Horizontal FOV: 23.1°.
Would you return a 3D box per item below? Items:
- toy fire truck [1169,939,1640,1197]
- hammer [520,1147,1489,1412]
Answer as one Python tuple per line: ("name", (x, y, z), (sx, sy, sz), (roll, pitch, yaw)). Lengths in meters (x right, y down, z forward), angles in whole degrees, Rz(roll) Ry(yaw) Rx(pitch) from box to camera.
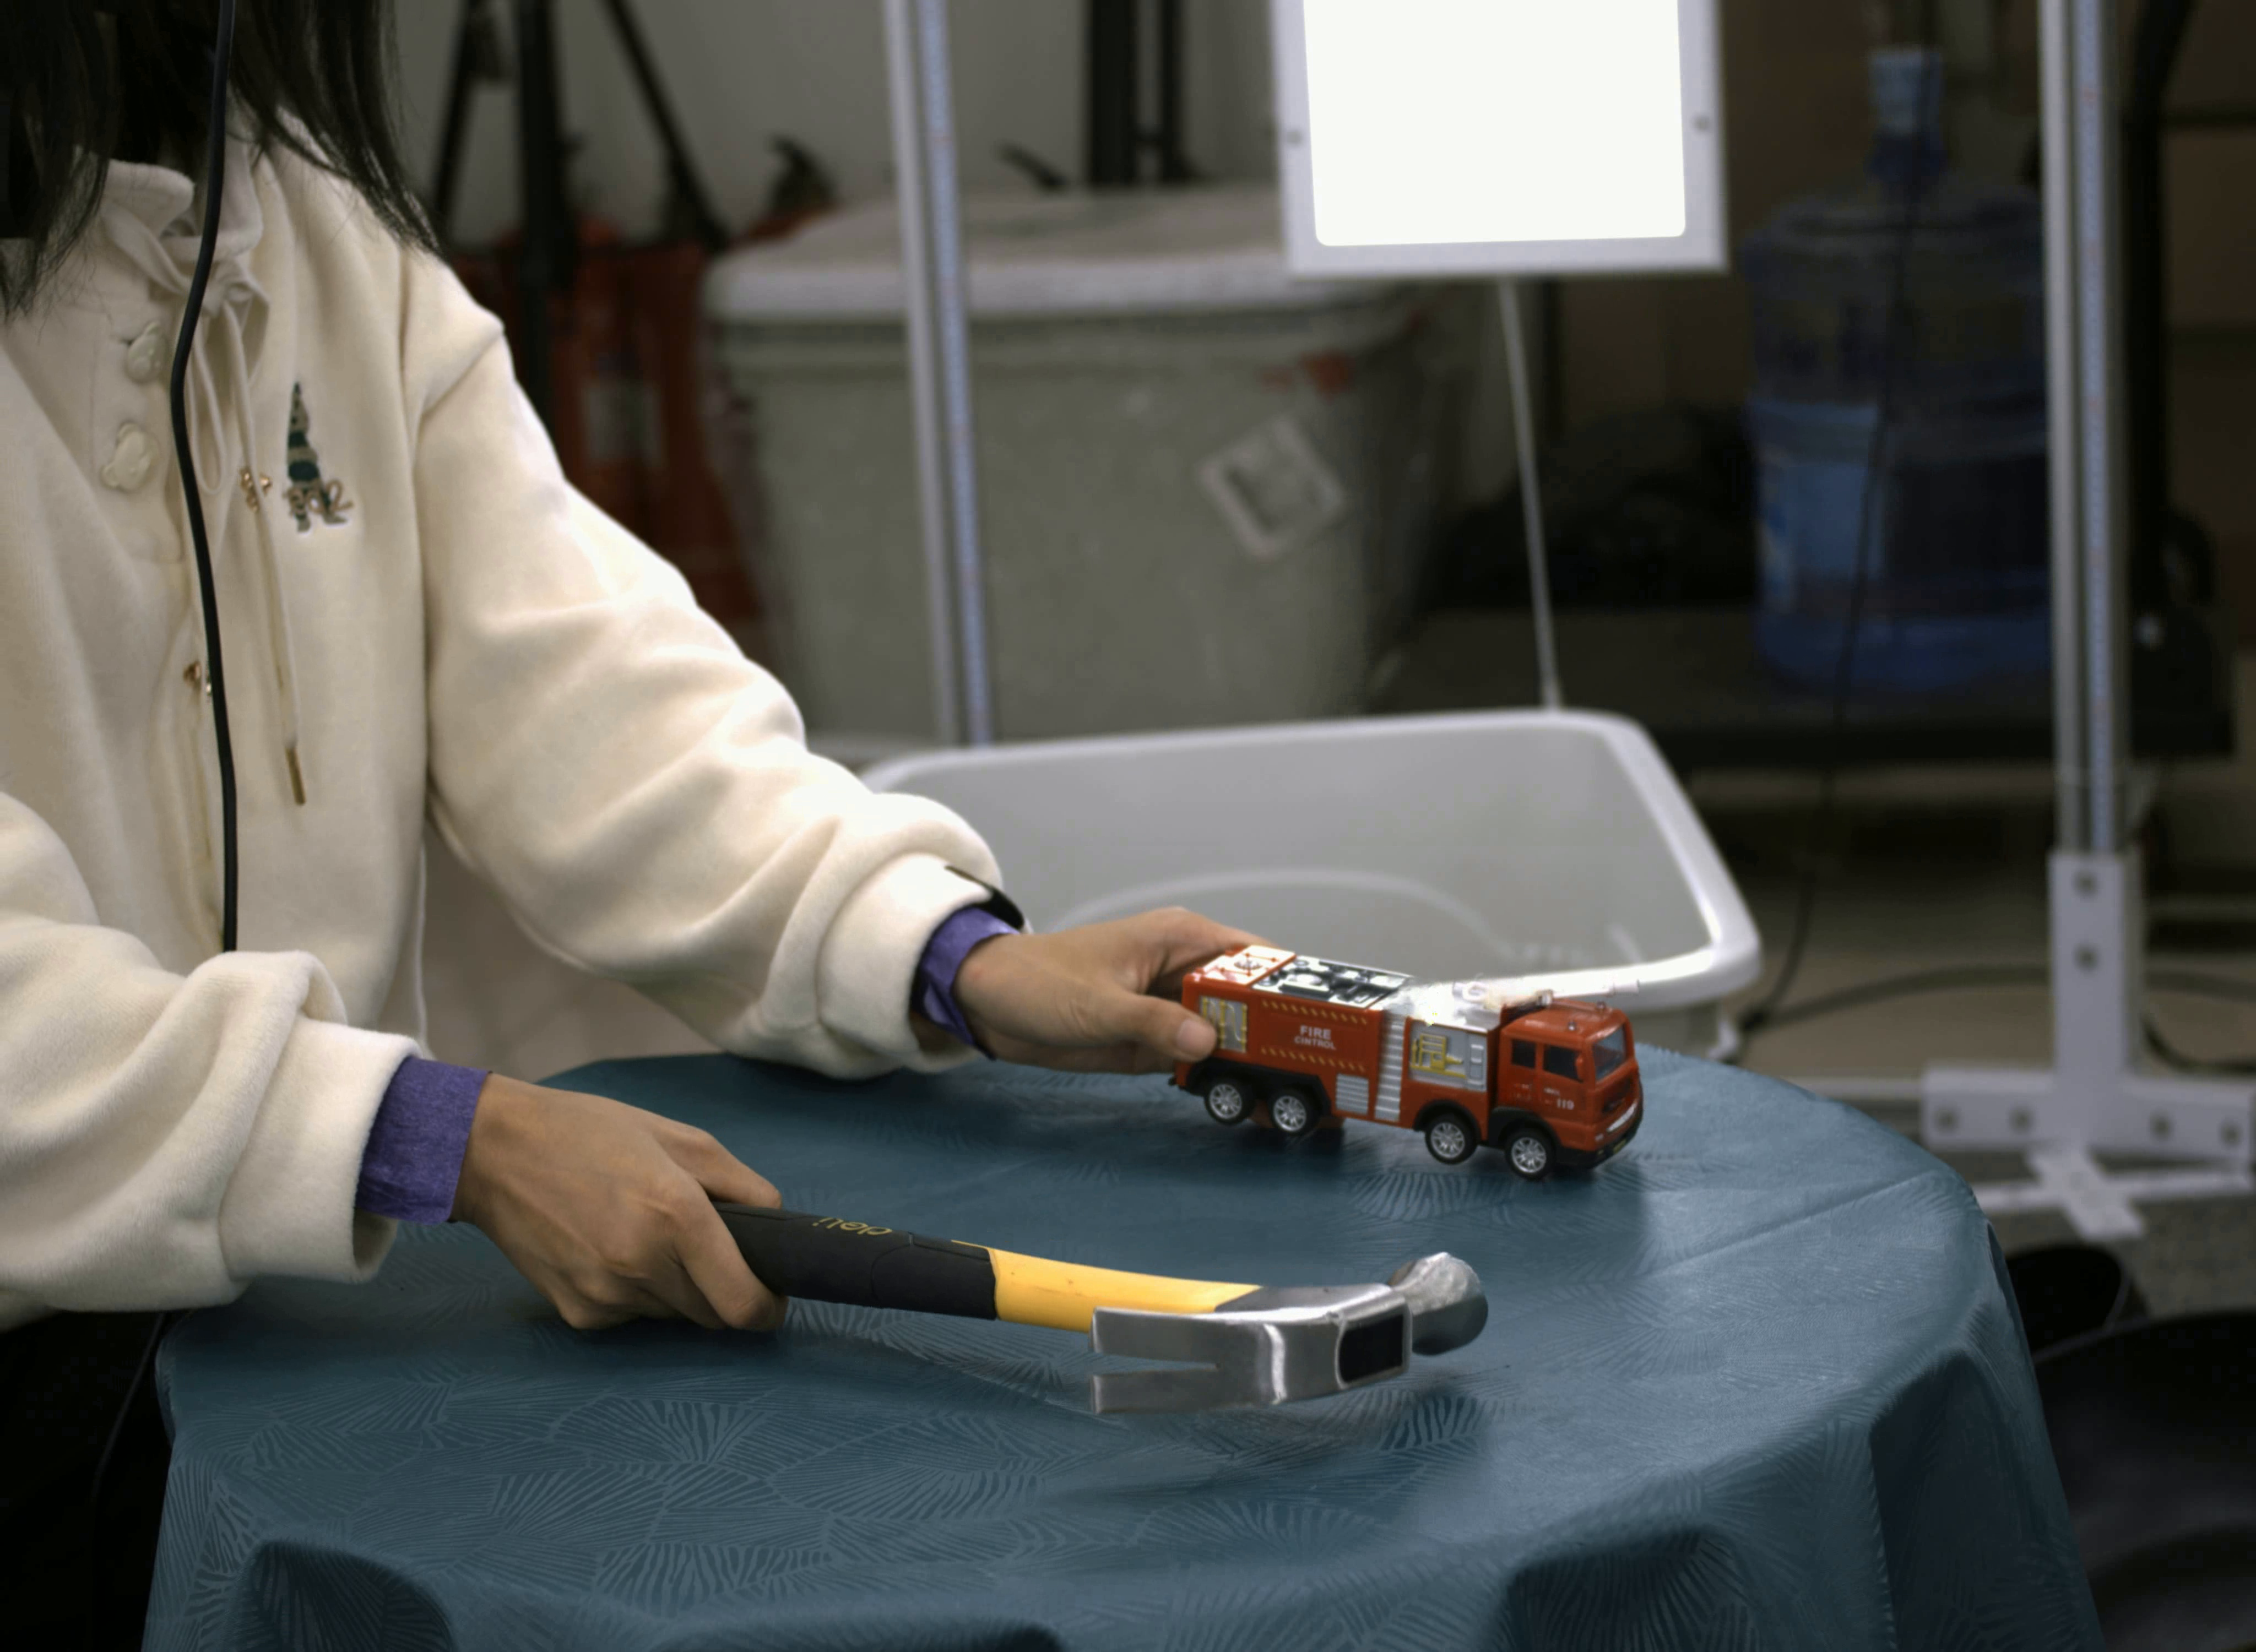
("toy fire truck", (0.098, 0.080, 1.907), (0.171, 0.070, 0.053), (8, 16, 27))
("hammer", (-0.060, 0.136, 1.739), (0.345, 0.032, 0.128), (7, 13, 39))
